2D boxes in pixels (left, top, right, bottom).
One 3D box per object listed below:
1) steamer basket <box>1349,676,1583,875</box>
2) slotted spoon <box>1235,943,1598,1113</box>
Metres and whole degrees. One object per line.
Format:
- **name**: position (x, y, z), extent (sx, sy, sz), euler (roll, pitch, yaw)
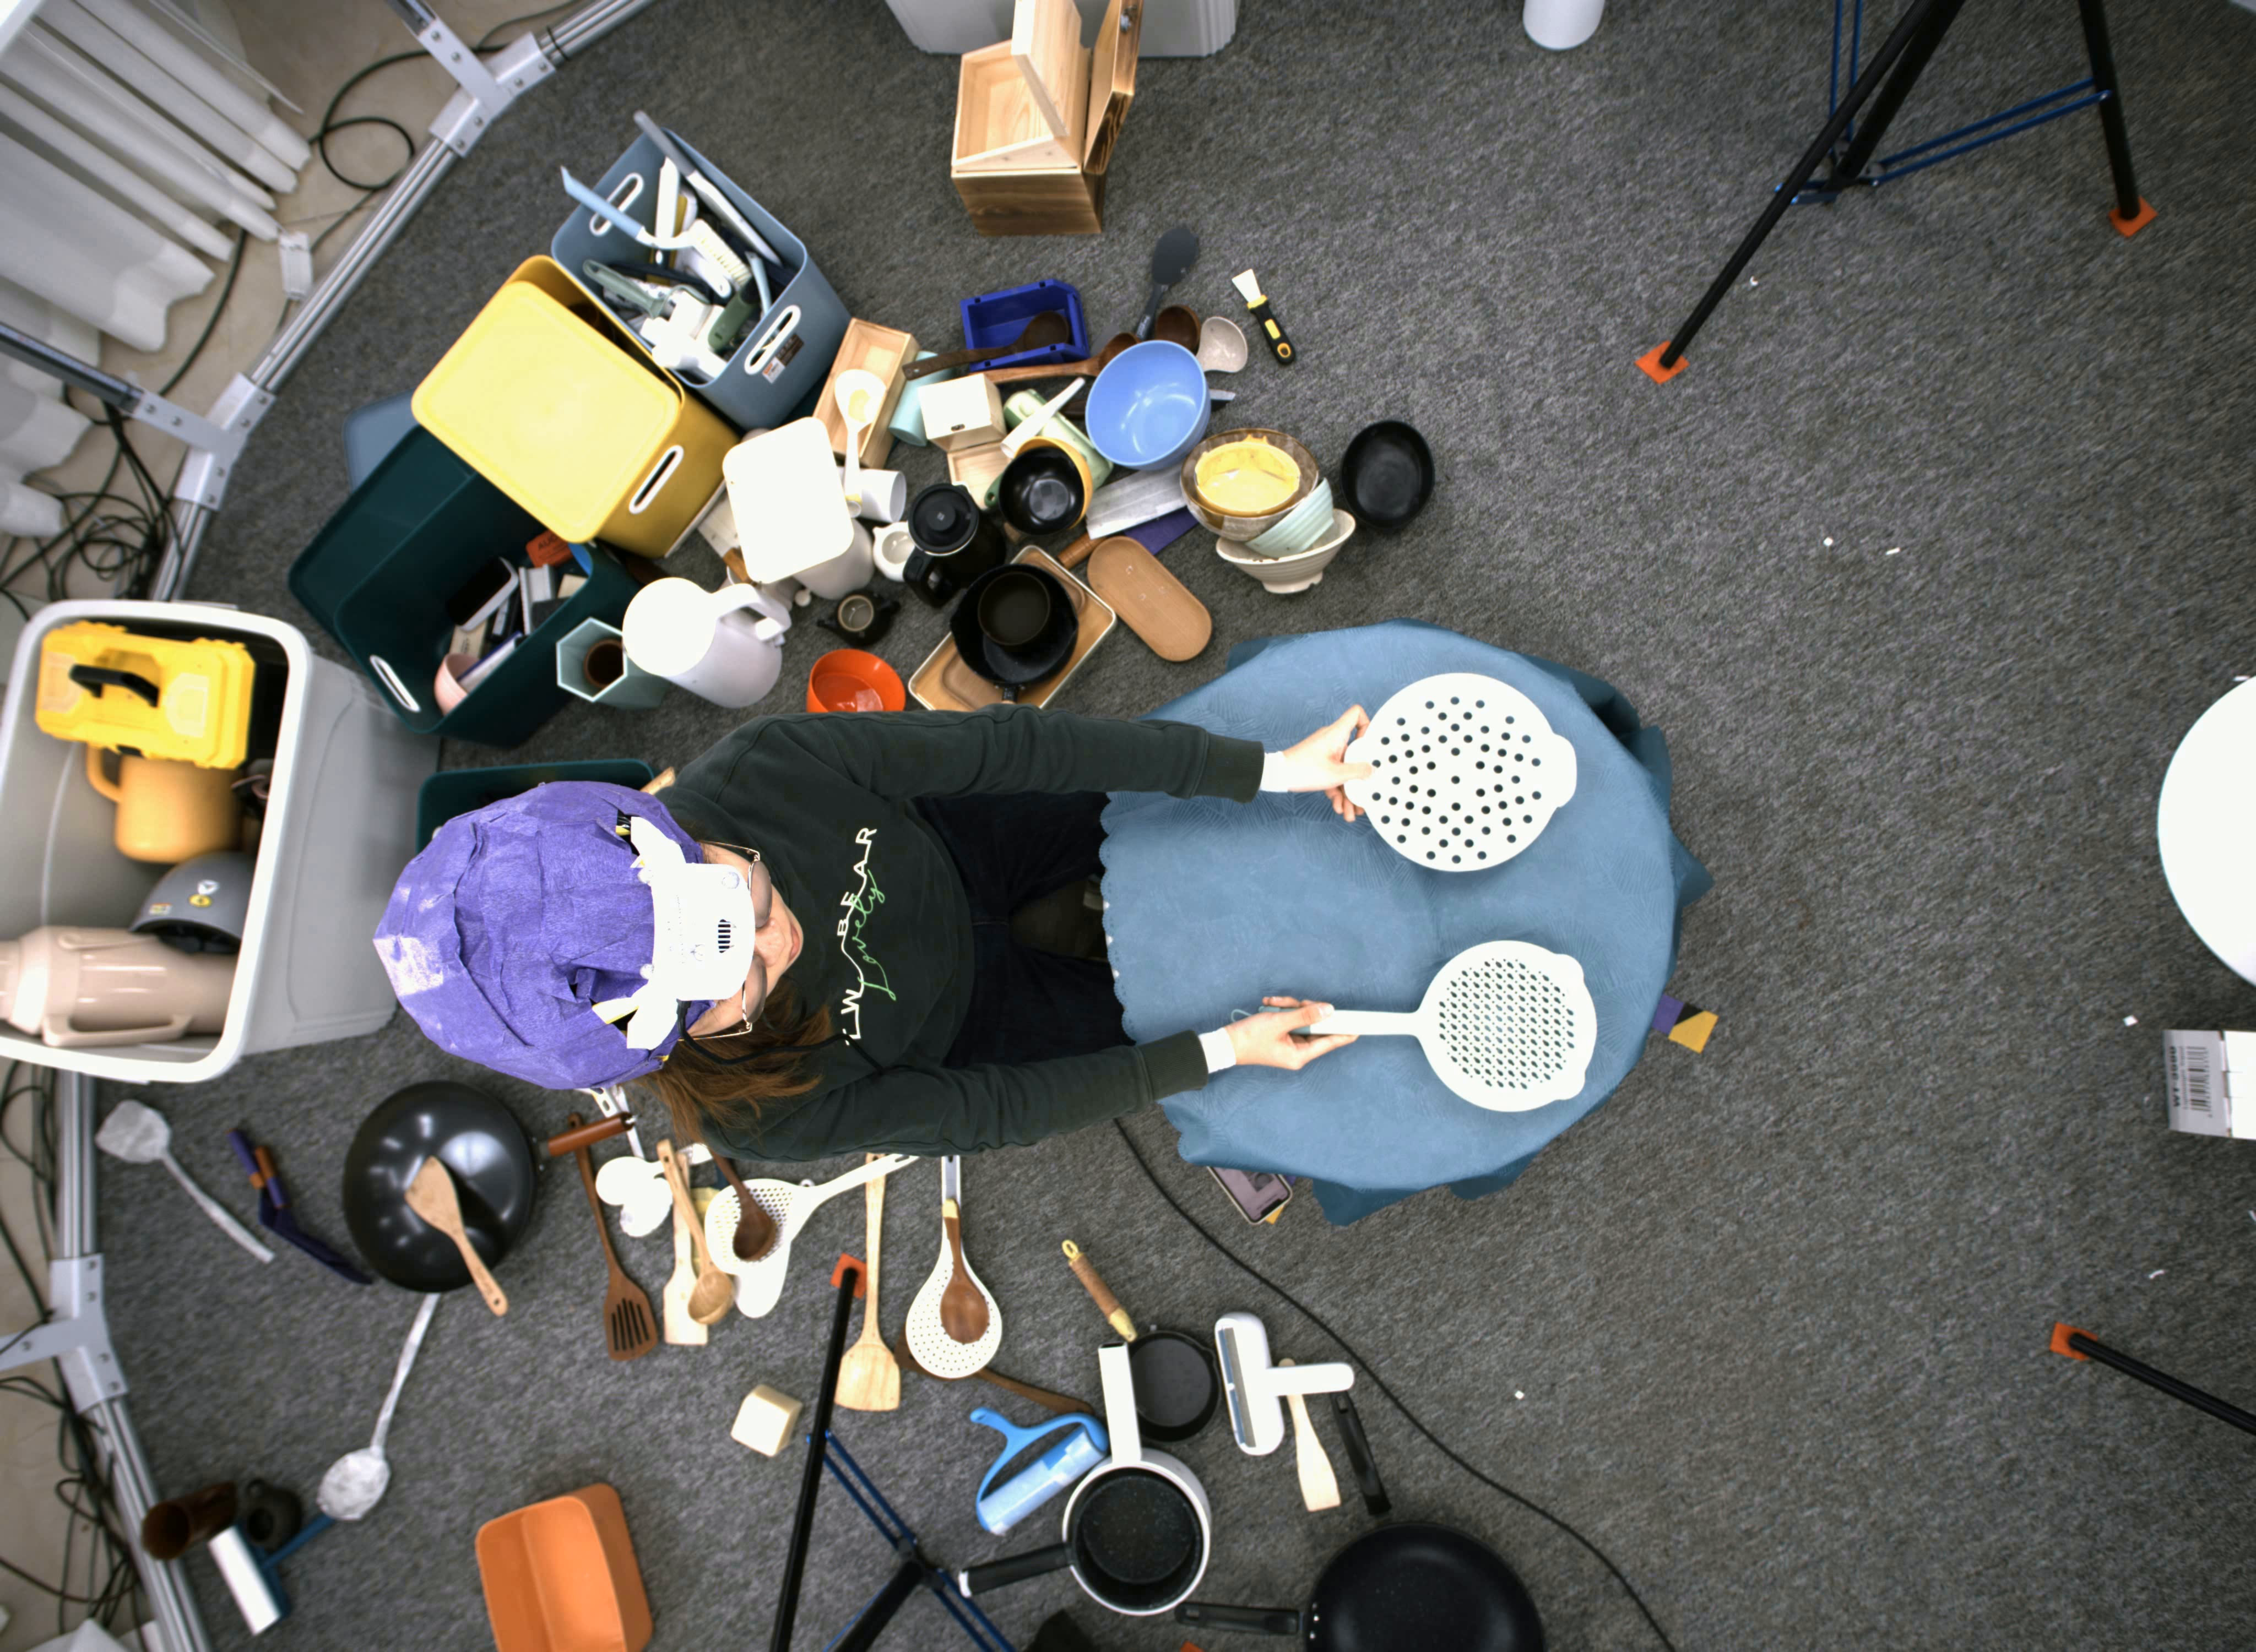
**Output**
- **steamer basket**: position (0.345, -0.051, 1.411), extent (0.231, 0.069, 0.200), euler (-1, 84, 12)
- **slotted spoon**: position (0.289, 0.201, 1.412), extent (0.360, 0.075, 0.168), euler (1, 85, 5)
